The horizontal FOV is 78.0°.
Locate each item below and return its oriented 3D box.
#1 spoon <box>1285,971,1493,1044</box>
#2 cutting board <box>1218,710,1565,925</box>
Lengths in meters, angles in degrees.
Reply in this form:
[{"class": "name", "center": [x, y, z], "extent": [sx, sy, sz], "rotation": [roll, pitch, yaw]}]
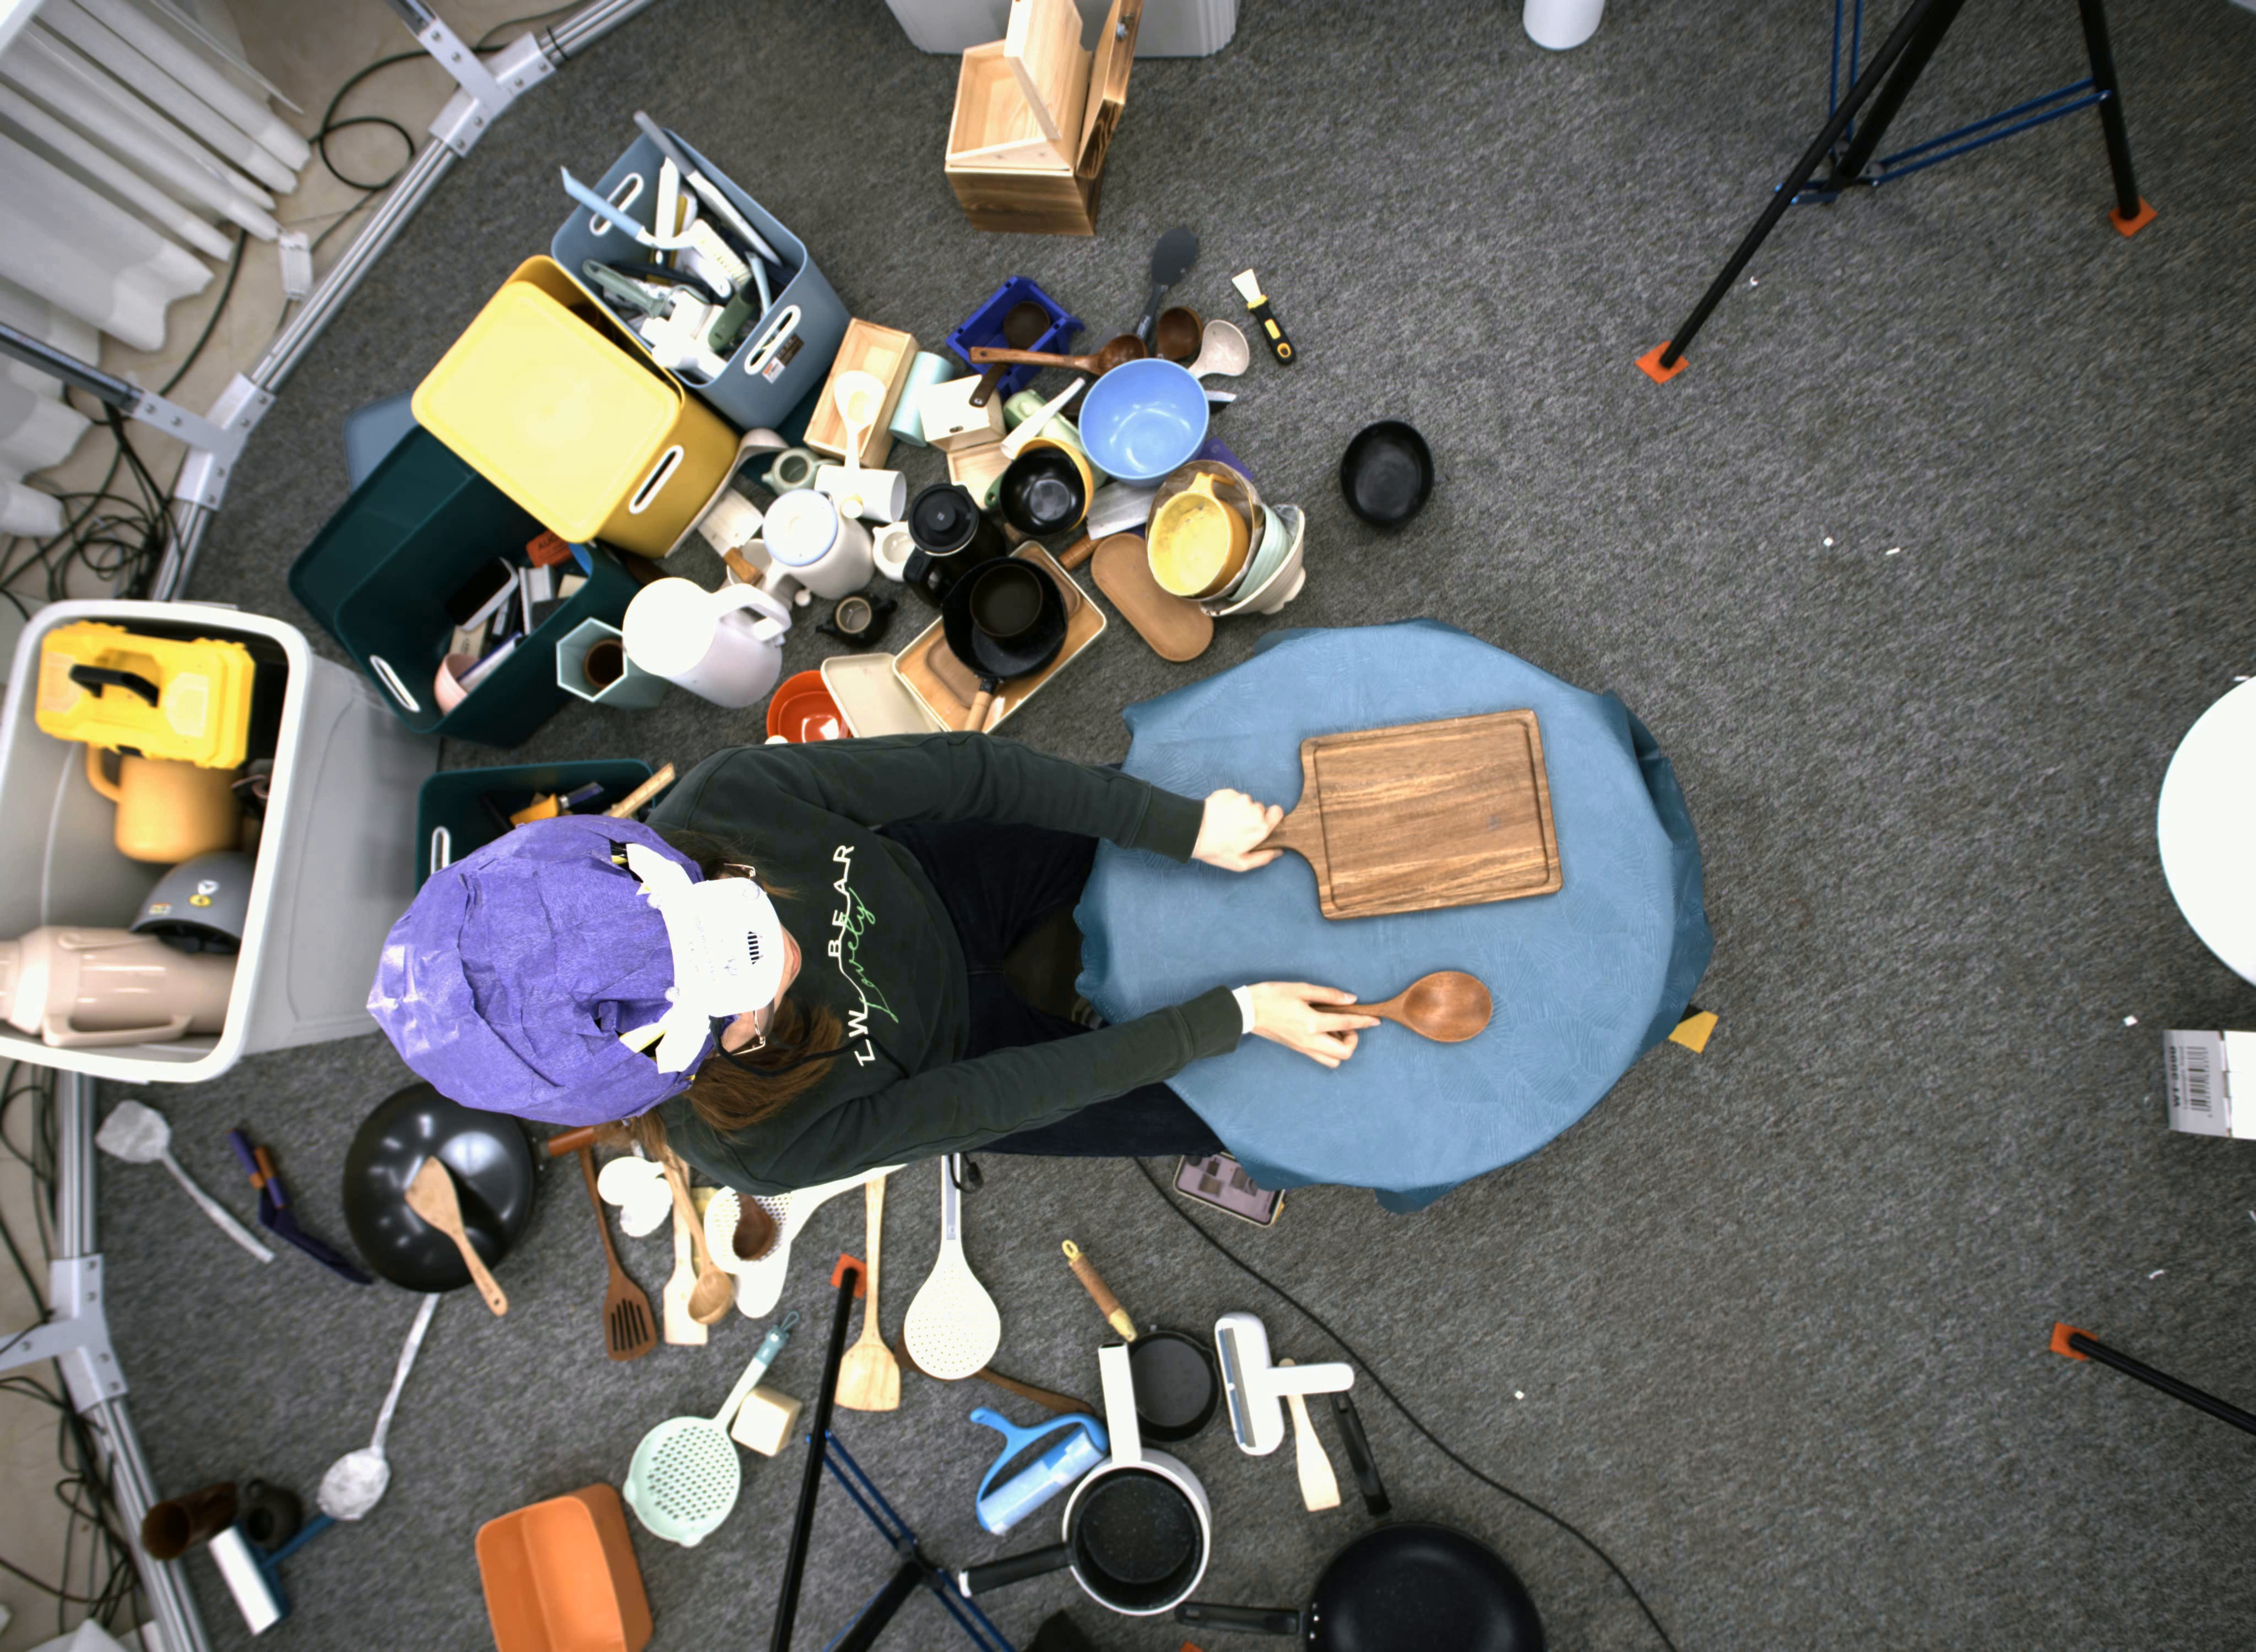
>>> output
[{"class": "spoon", "center": [0.272, 0.192, 1.446], "extent": [0.217, 0.017, 0.075], "rotation": [-4, 87, 9]}, {"class": "cutting board", "center": [0.269, -0.004, 1.456], "extent": [0.353, 0.023, 0.200], "rotation": [-8, 86, 8]}]
